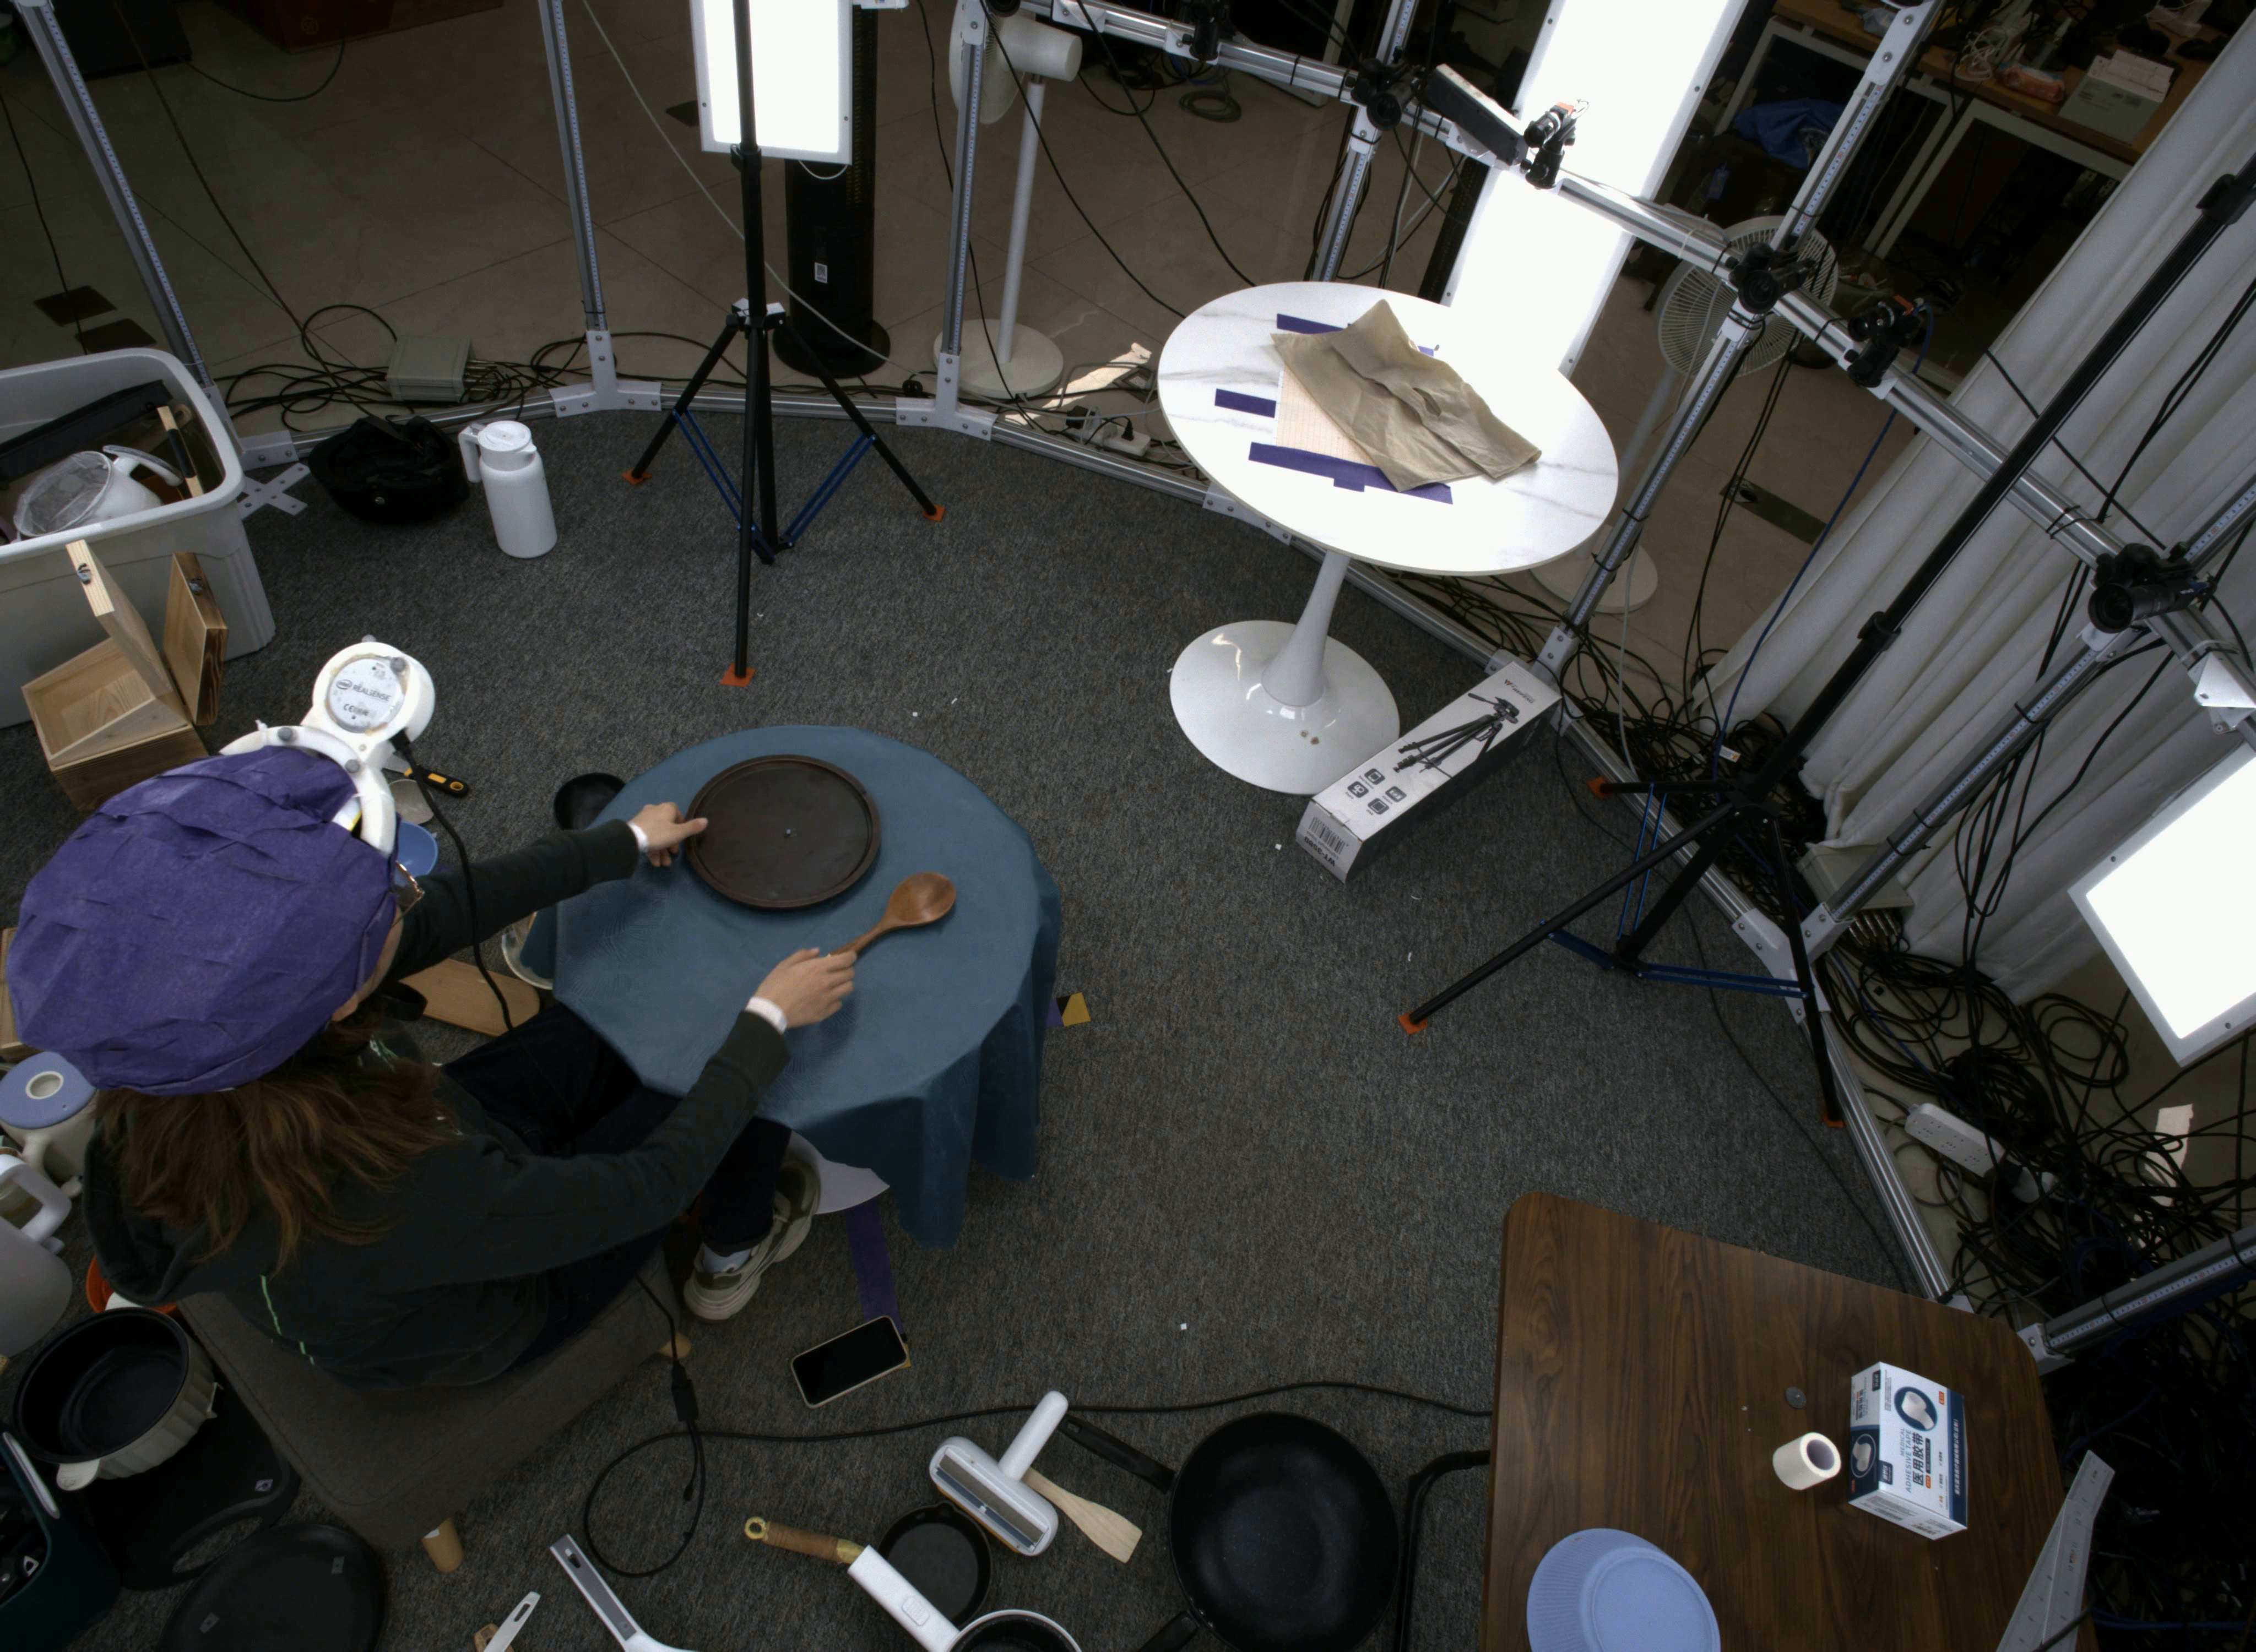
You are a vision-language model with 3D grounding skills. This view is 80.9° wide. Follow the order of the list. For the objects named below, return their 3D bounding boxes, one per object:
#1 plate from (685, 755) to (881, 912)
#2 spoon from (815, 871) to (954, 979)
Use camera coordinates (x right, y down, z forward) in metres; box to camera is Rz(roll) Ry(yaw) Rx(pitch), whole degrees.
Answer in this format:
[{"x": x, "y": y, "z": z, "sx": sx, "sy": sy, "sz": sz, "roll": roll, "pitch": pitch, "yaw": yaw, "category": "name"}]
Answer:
[{"x": -0.452, "y": 0.007, "z": 1.703, "sx": 0.254, "sy": 0.029, "sz": 0.250, "roll": 8, "pitch": 51, "yaw": -8, "category": "plate"}, {"x": -0.310, "y": 0.126, "z": 1.654, "sx": 0.074, "sy": 0.017, "sz": 0.216, "roll": 41, "pitch": 55, "yaw": 17, "category": "spoon"}]
